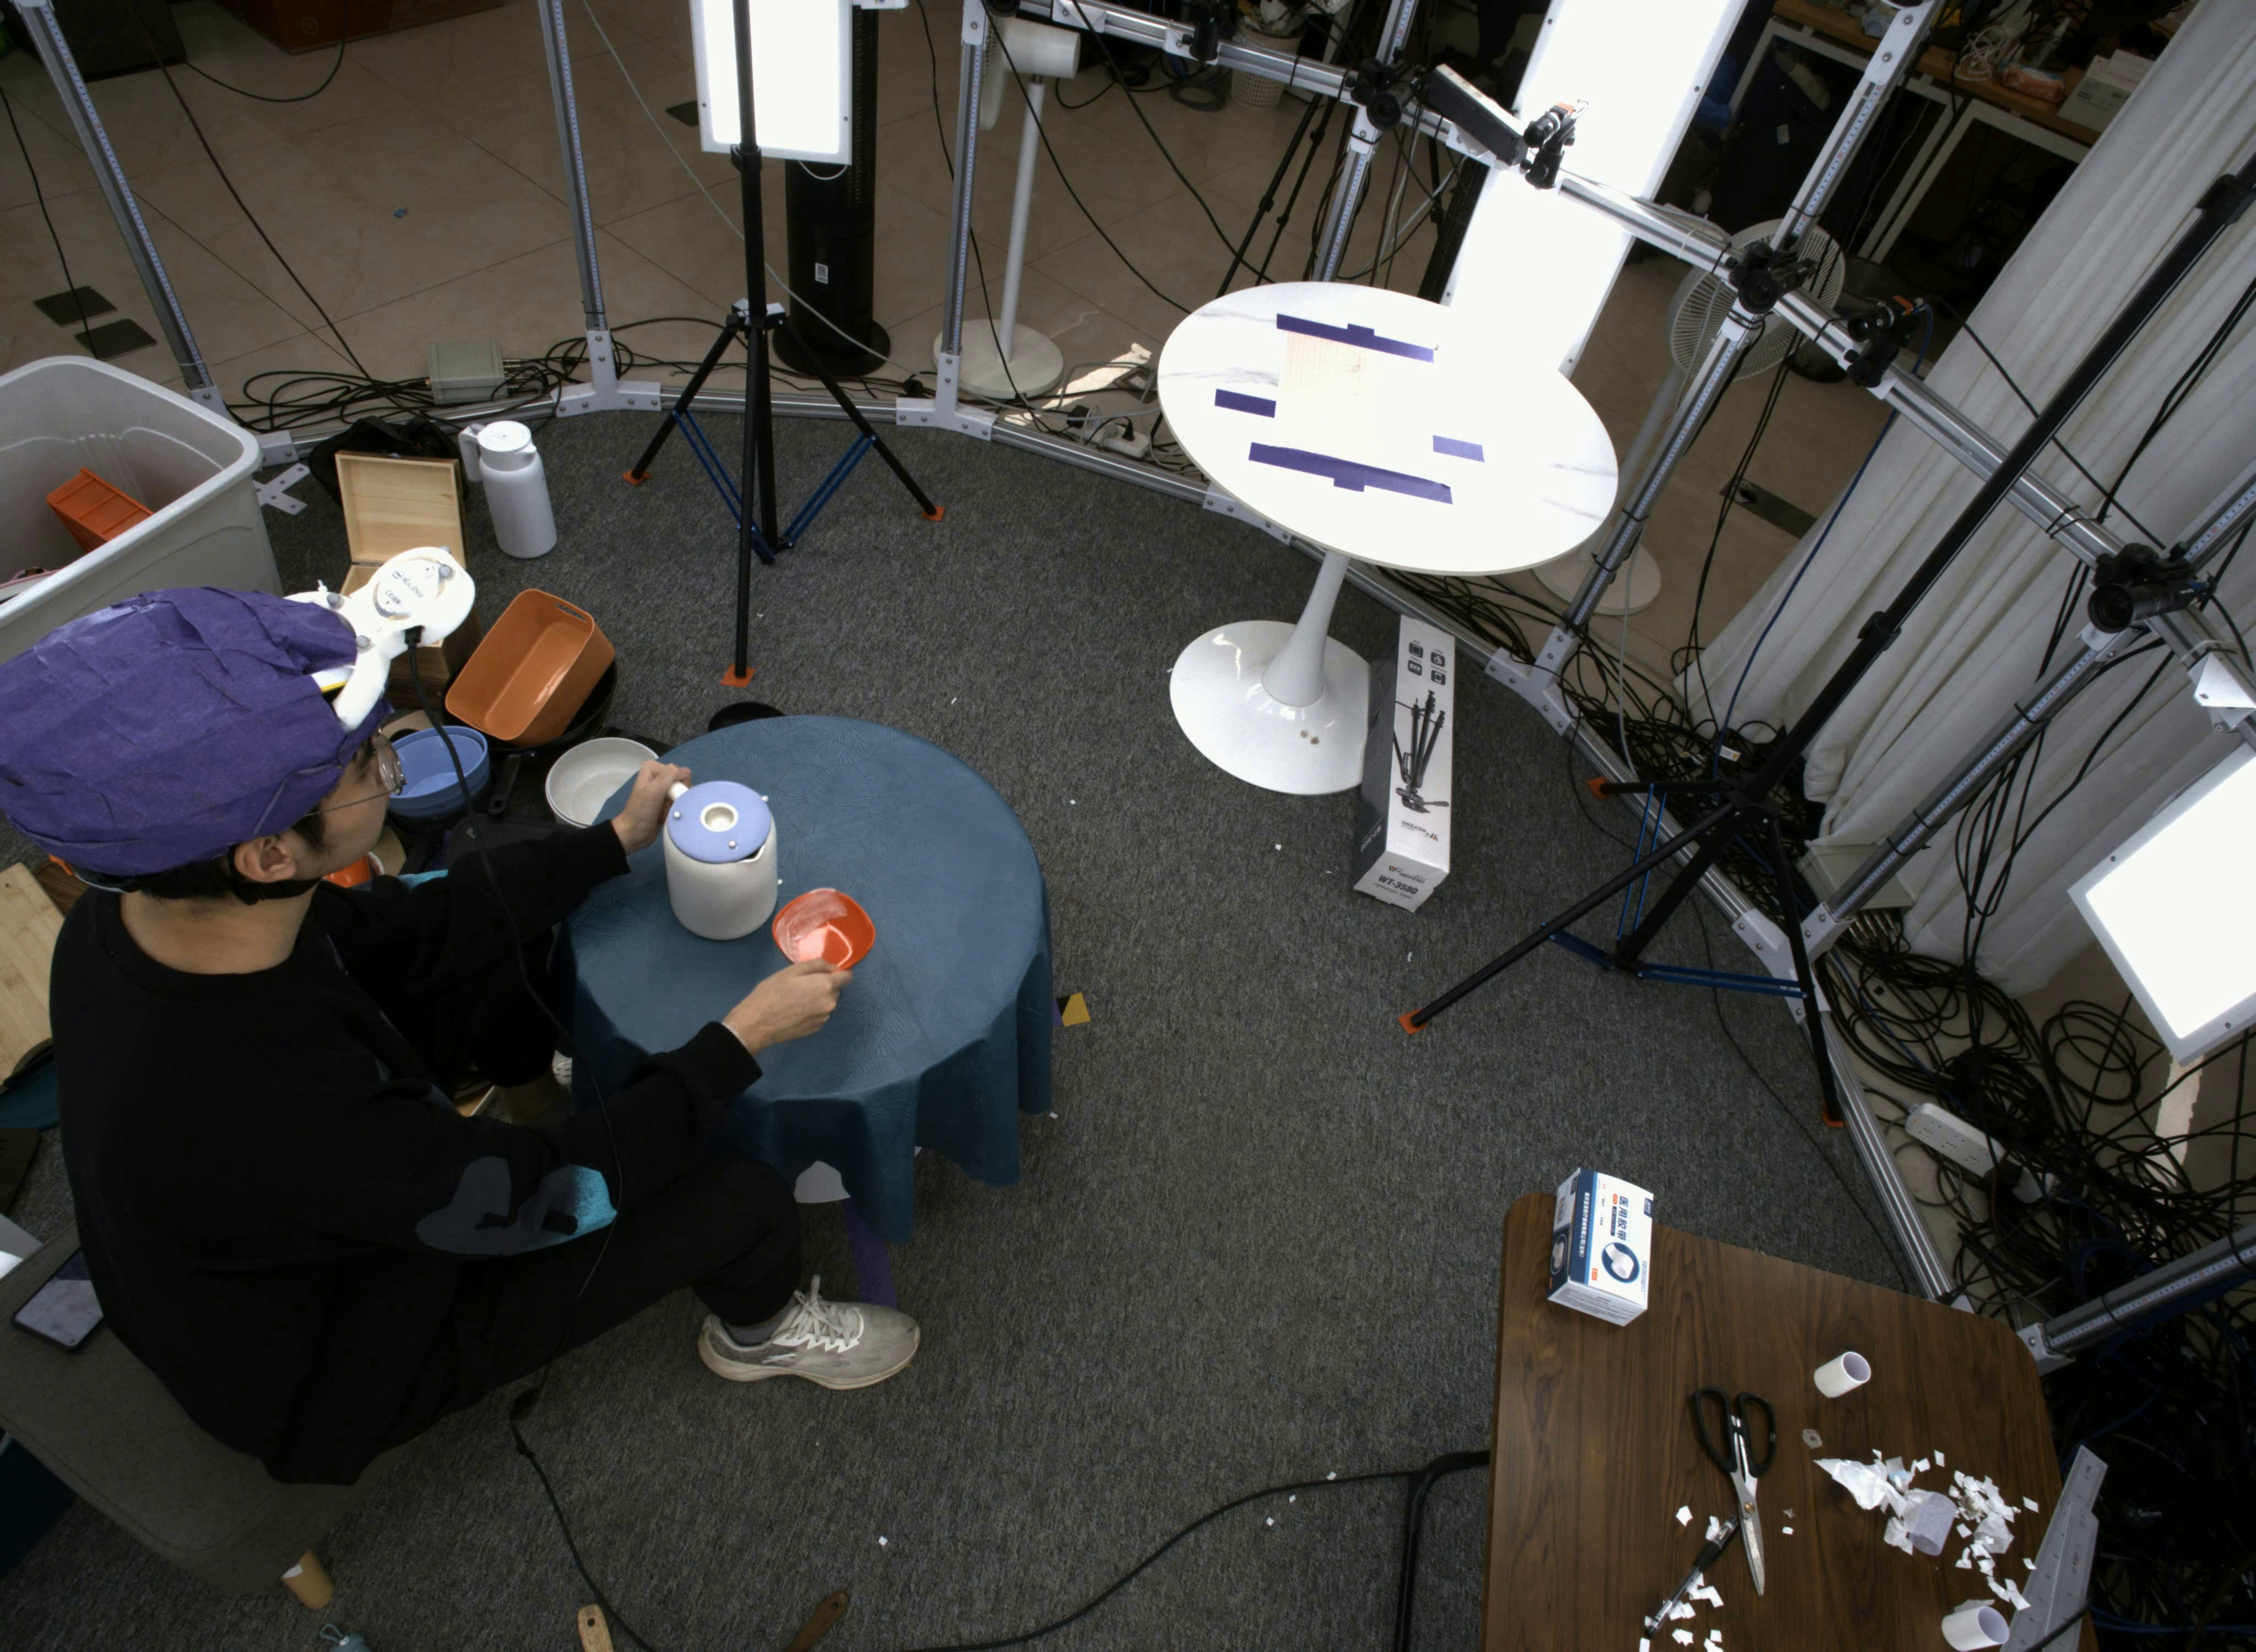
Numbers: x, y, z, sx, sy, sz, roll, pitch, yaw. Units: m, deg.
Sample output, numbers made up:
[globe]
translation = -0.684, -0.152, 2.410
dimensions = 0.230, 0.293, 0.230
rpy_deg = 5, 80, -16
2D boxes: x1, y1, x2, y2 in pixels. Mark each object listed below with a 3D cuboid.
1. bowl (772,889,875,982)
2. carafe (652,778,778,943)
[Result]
[bowl]
translation = -0.361, 0.136, 1.533
dimensions = 0.119, 0.052, 0.117
rpy_deg = 12, 52, -14
[carafe]
translation = -0.513, 0.027, 1.574
dimensions = 0.187, 0.186, 0.132
rpy_deg = 37, 53, 16
